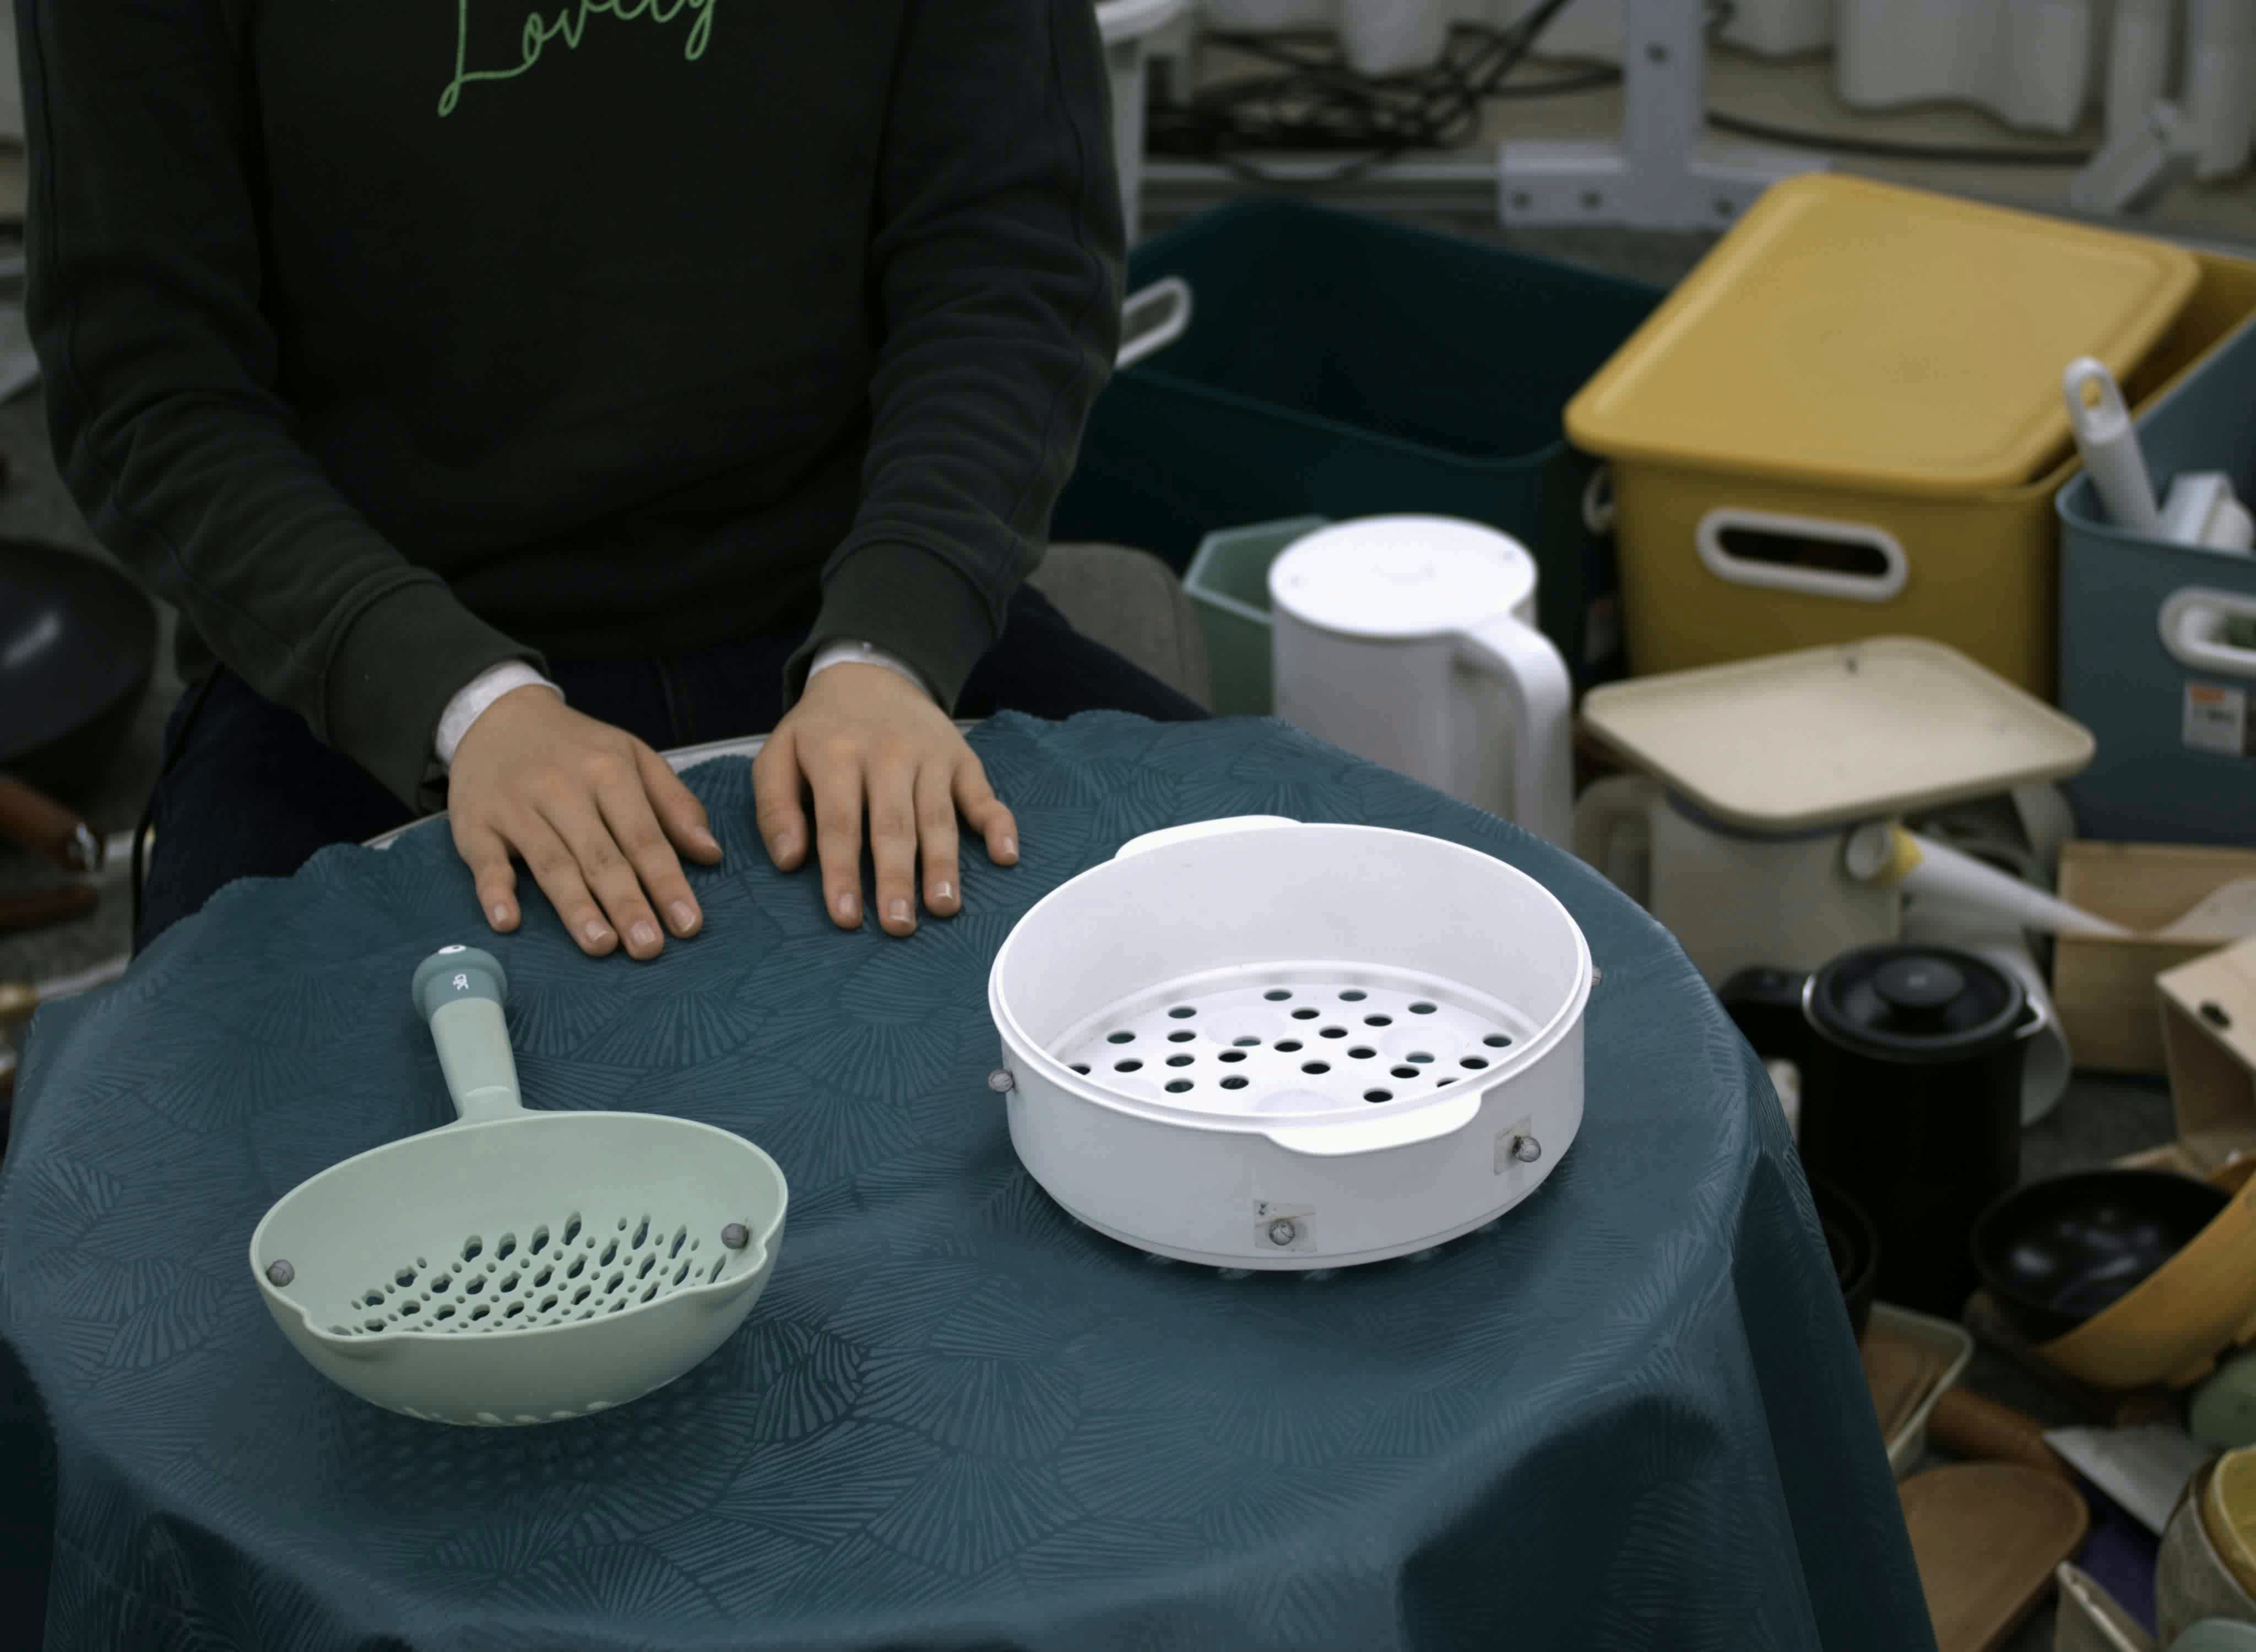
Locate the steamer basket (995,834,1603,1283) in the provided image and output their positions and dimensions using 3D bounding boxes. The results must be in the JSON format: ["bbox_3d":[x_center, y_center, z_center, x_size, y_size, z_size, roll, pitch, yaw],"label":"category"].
[{"bbox_3d":[0.057,0.078,1.870,0.202,0.068,0.233,-9,27,-13],"label":"steamer basket"}]

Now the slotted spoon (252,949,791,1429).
[{"bbox_3d":[-0.207,0.104,1.847,0.169,0.074,0.363,-7,27,-9],"label":"slotted spoon"}]
